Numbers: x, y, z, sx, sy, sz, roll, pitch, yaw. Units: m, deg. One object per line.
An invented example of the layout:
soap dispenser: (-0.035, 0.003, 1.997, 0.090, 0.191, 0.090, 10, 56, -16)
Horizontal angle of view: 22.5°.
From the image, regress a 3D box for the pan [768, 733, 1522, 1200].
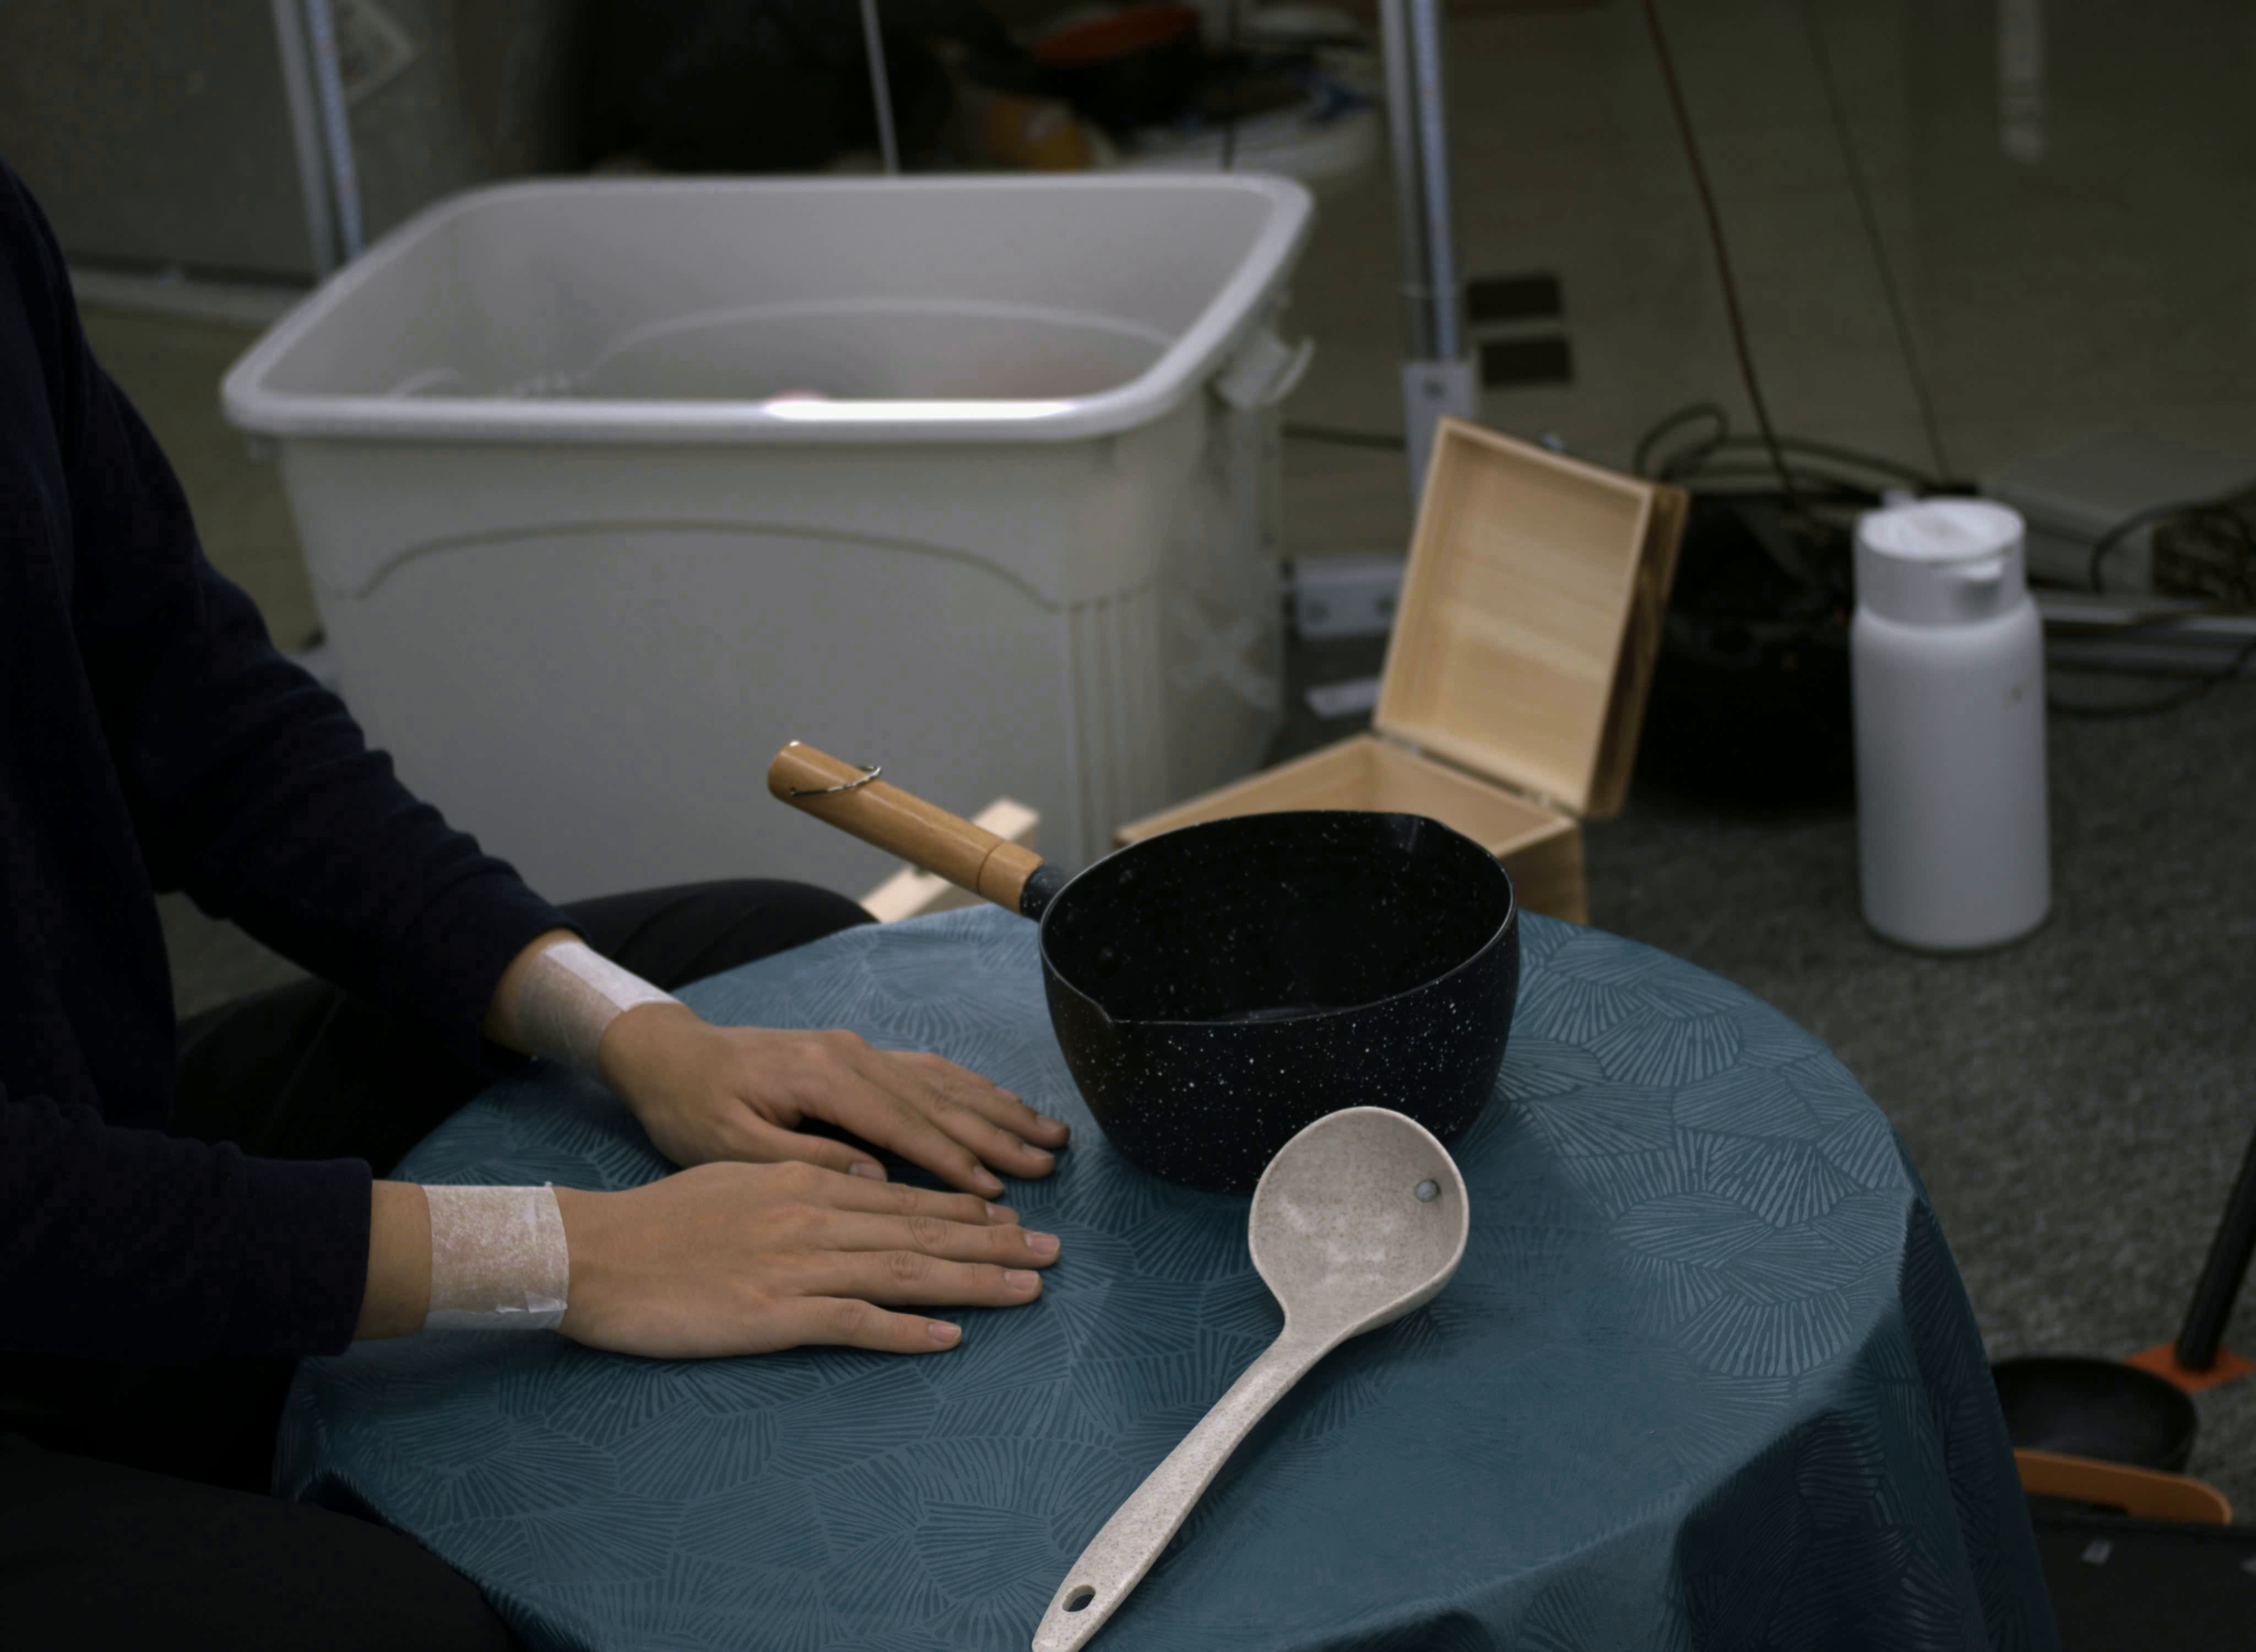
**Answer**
pan: (-0.004, 0.046, 2.217, 0.341, 0.110, 0.205, 14, 33, 34)

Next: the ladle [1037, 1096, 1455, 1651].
ladle: (0.028, 0.187, 1.953, 0.089, 0.070, 0.271, -6, 23, 35)
